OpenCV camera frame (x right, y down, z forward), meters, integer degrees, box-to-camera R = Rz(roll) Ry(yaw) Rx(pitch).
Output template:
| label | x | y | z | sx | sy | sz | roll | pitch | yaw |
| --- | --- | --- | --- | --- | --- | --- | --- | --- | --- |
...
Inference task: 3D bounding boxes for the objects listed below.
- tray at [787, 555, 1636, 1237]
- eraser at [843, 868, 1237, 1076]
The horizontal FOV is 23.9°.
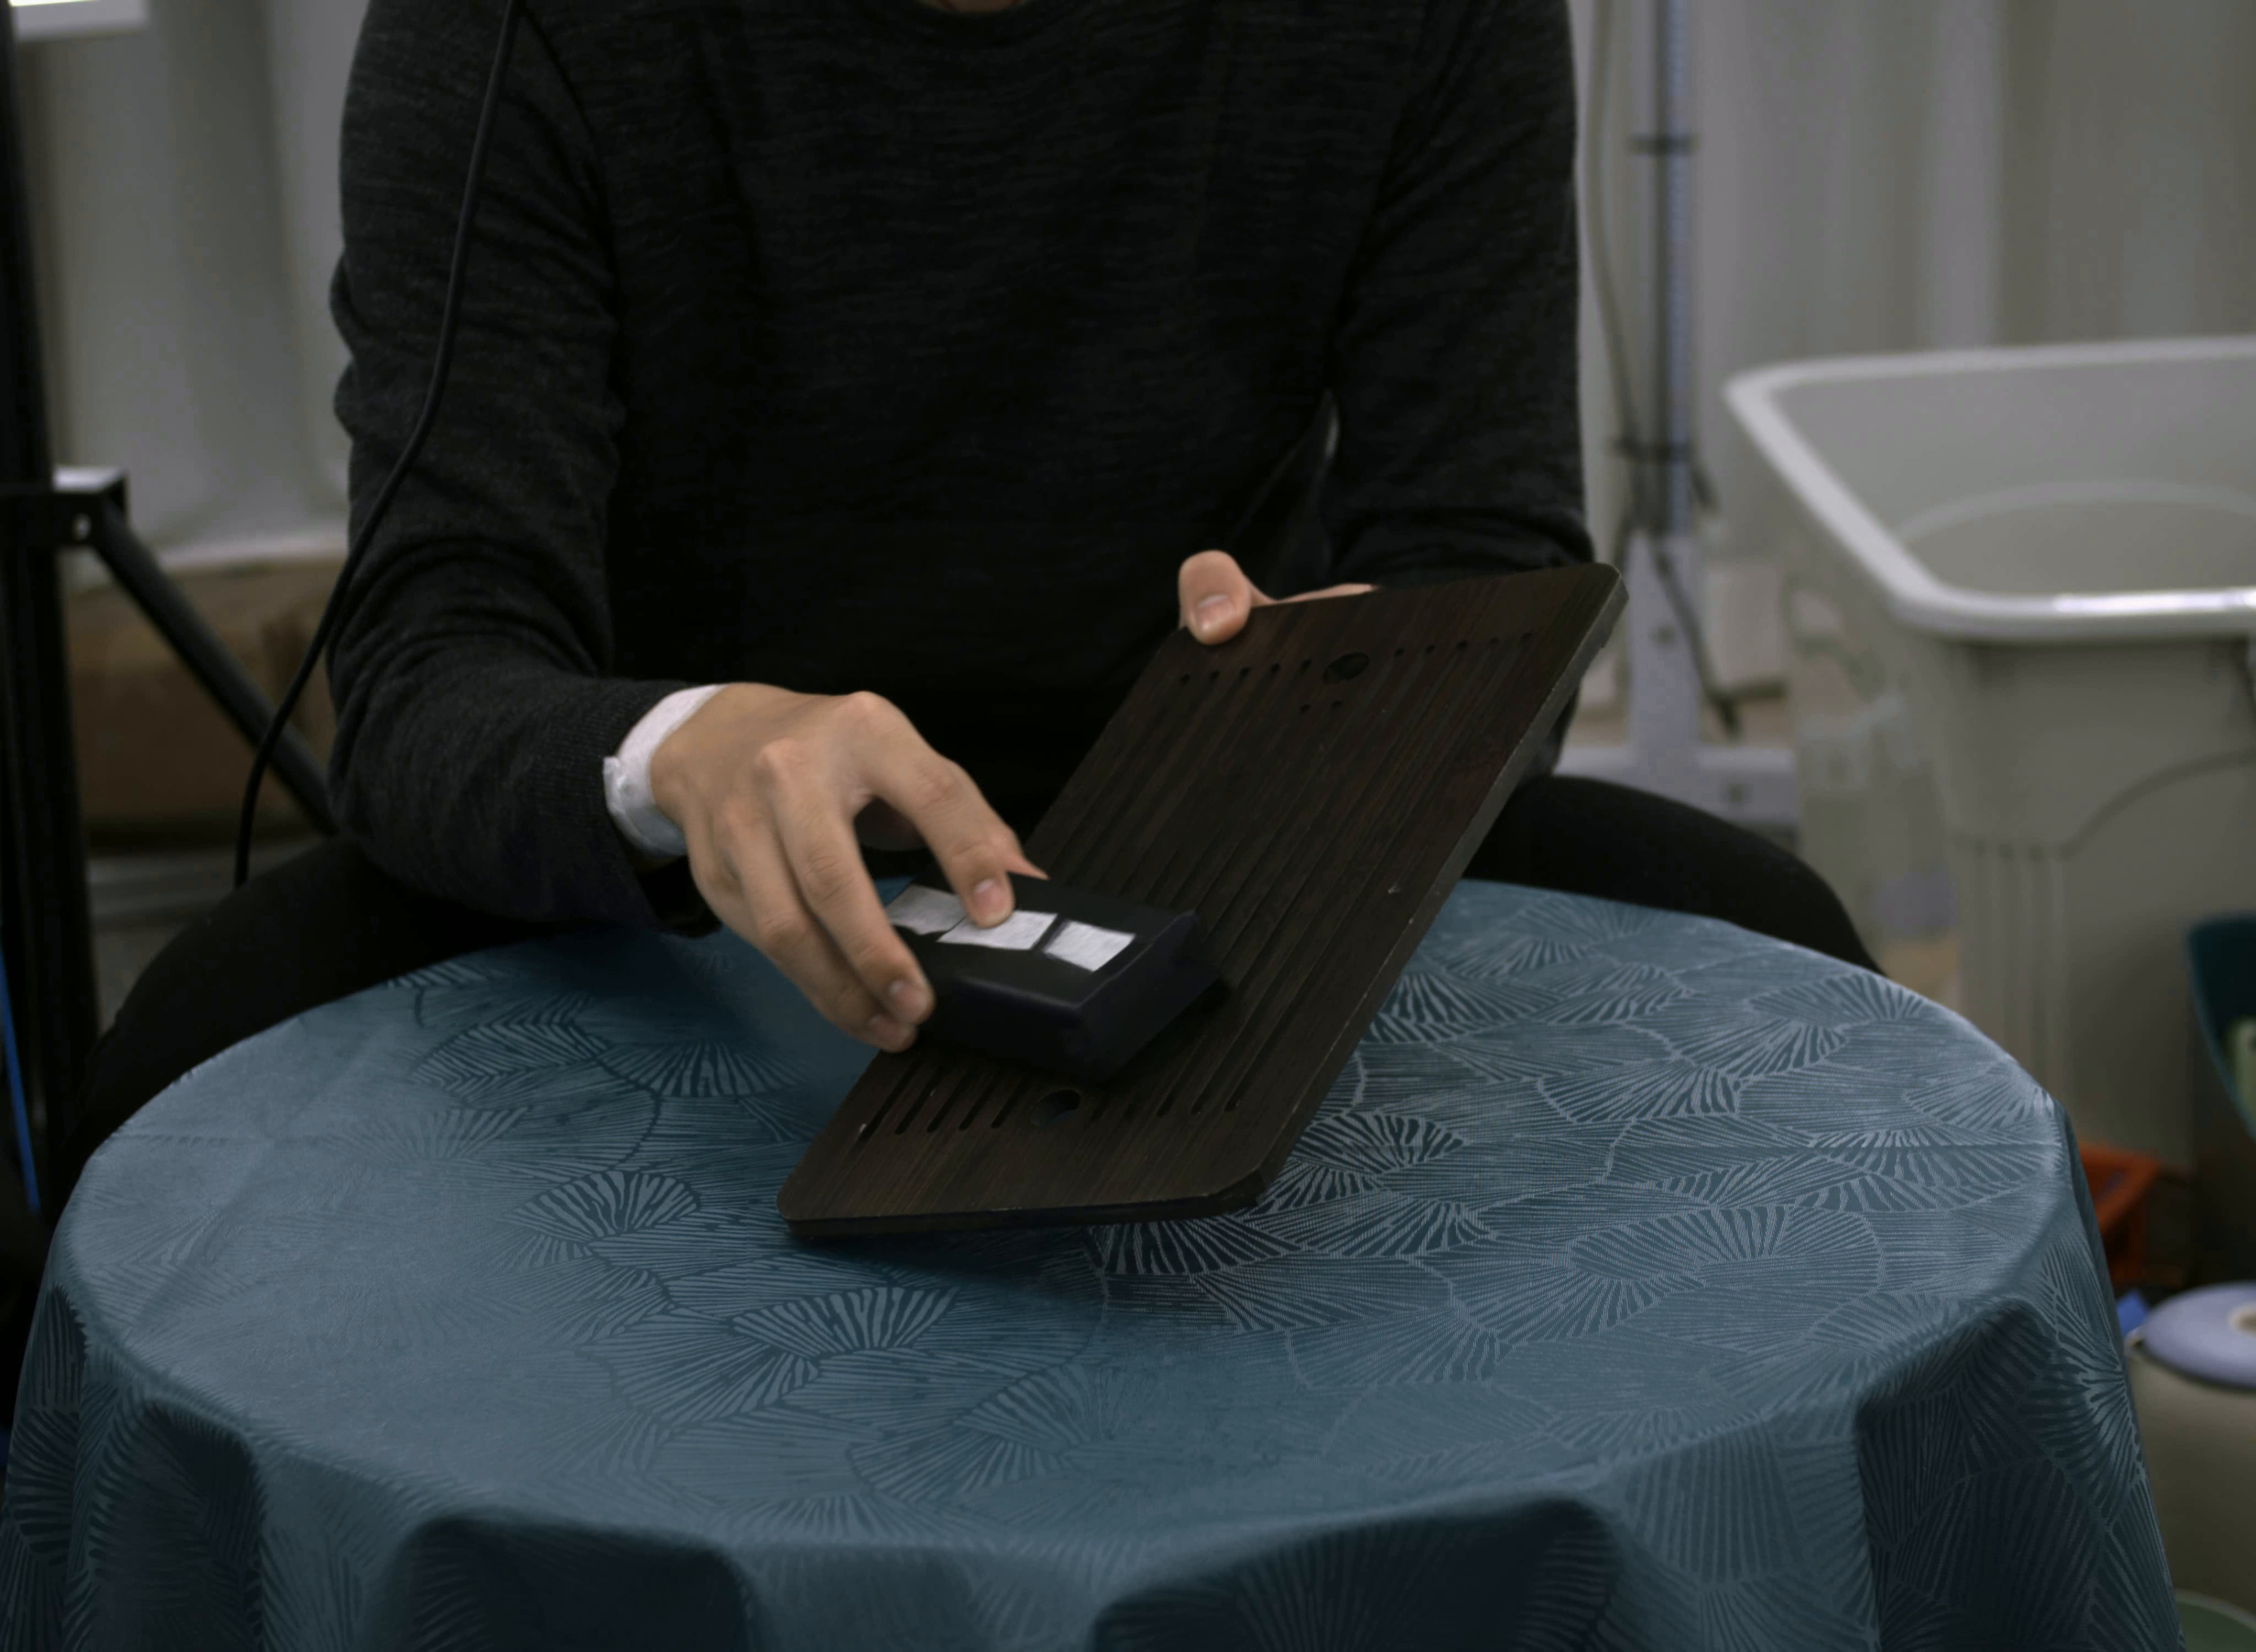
| label | x | y | z | sx | sy | sz | roll | pitch | yaw |
| --- | --- | --- | --- | --- | --- | --- | --- | --- | --- |
| tray | 0.031 | 0.021 | 1.582 | 0.173 | 0.018 | 0.304 | -7 | 33 | 36 |
| eraser | -0.026 | 0.041 | 1.553 | 0.053 | 0.030 | 0.128 | -39 | 27 | -28 |
